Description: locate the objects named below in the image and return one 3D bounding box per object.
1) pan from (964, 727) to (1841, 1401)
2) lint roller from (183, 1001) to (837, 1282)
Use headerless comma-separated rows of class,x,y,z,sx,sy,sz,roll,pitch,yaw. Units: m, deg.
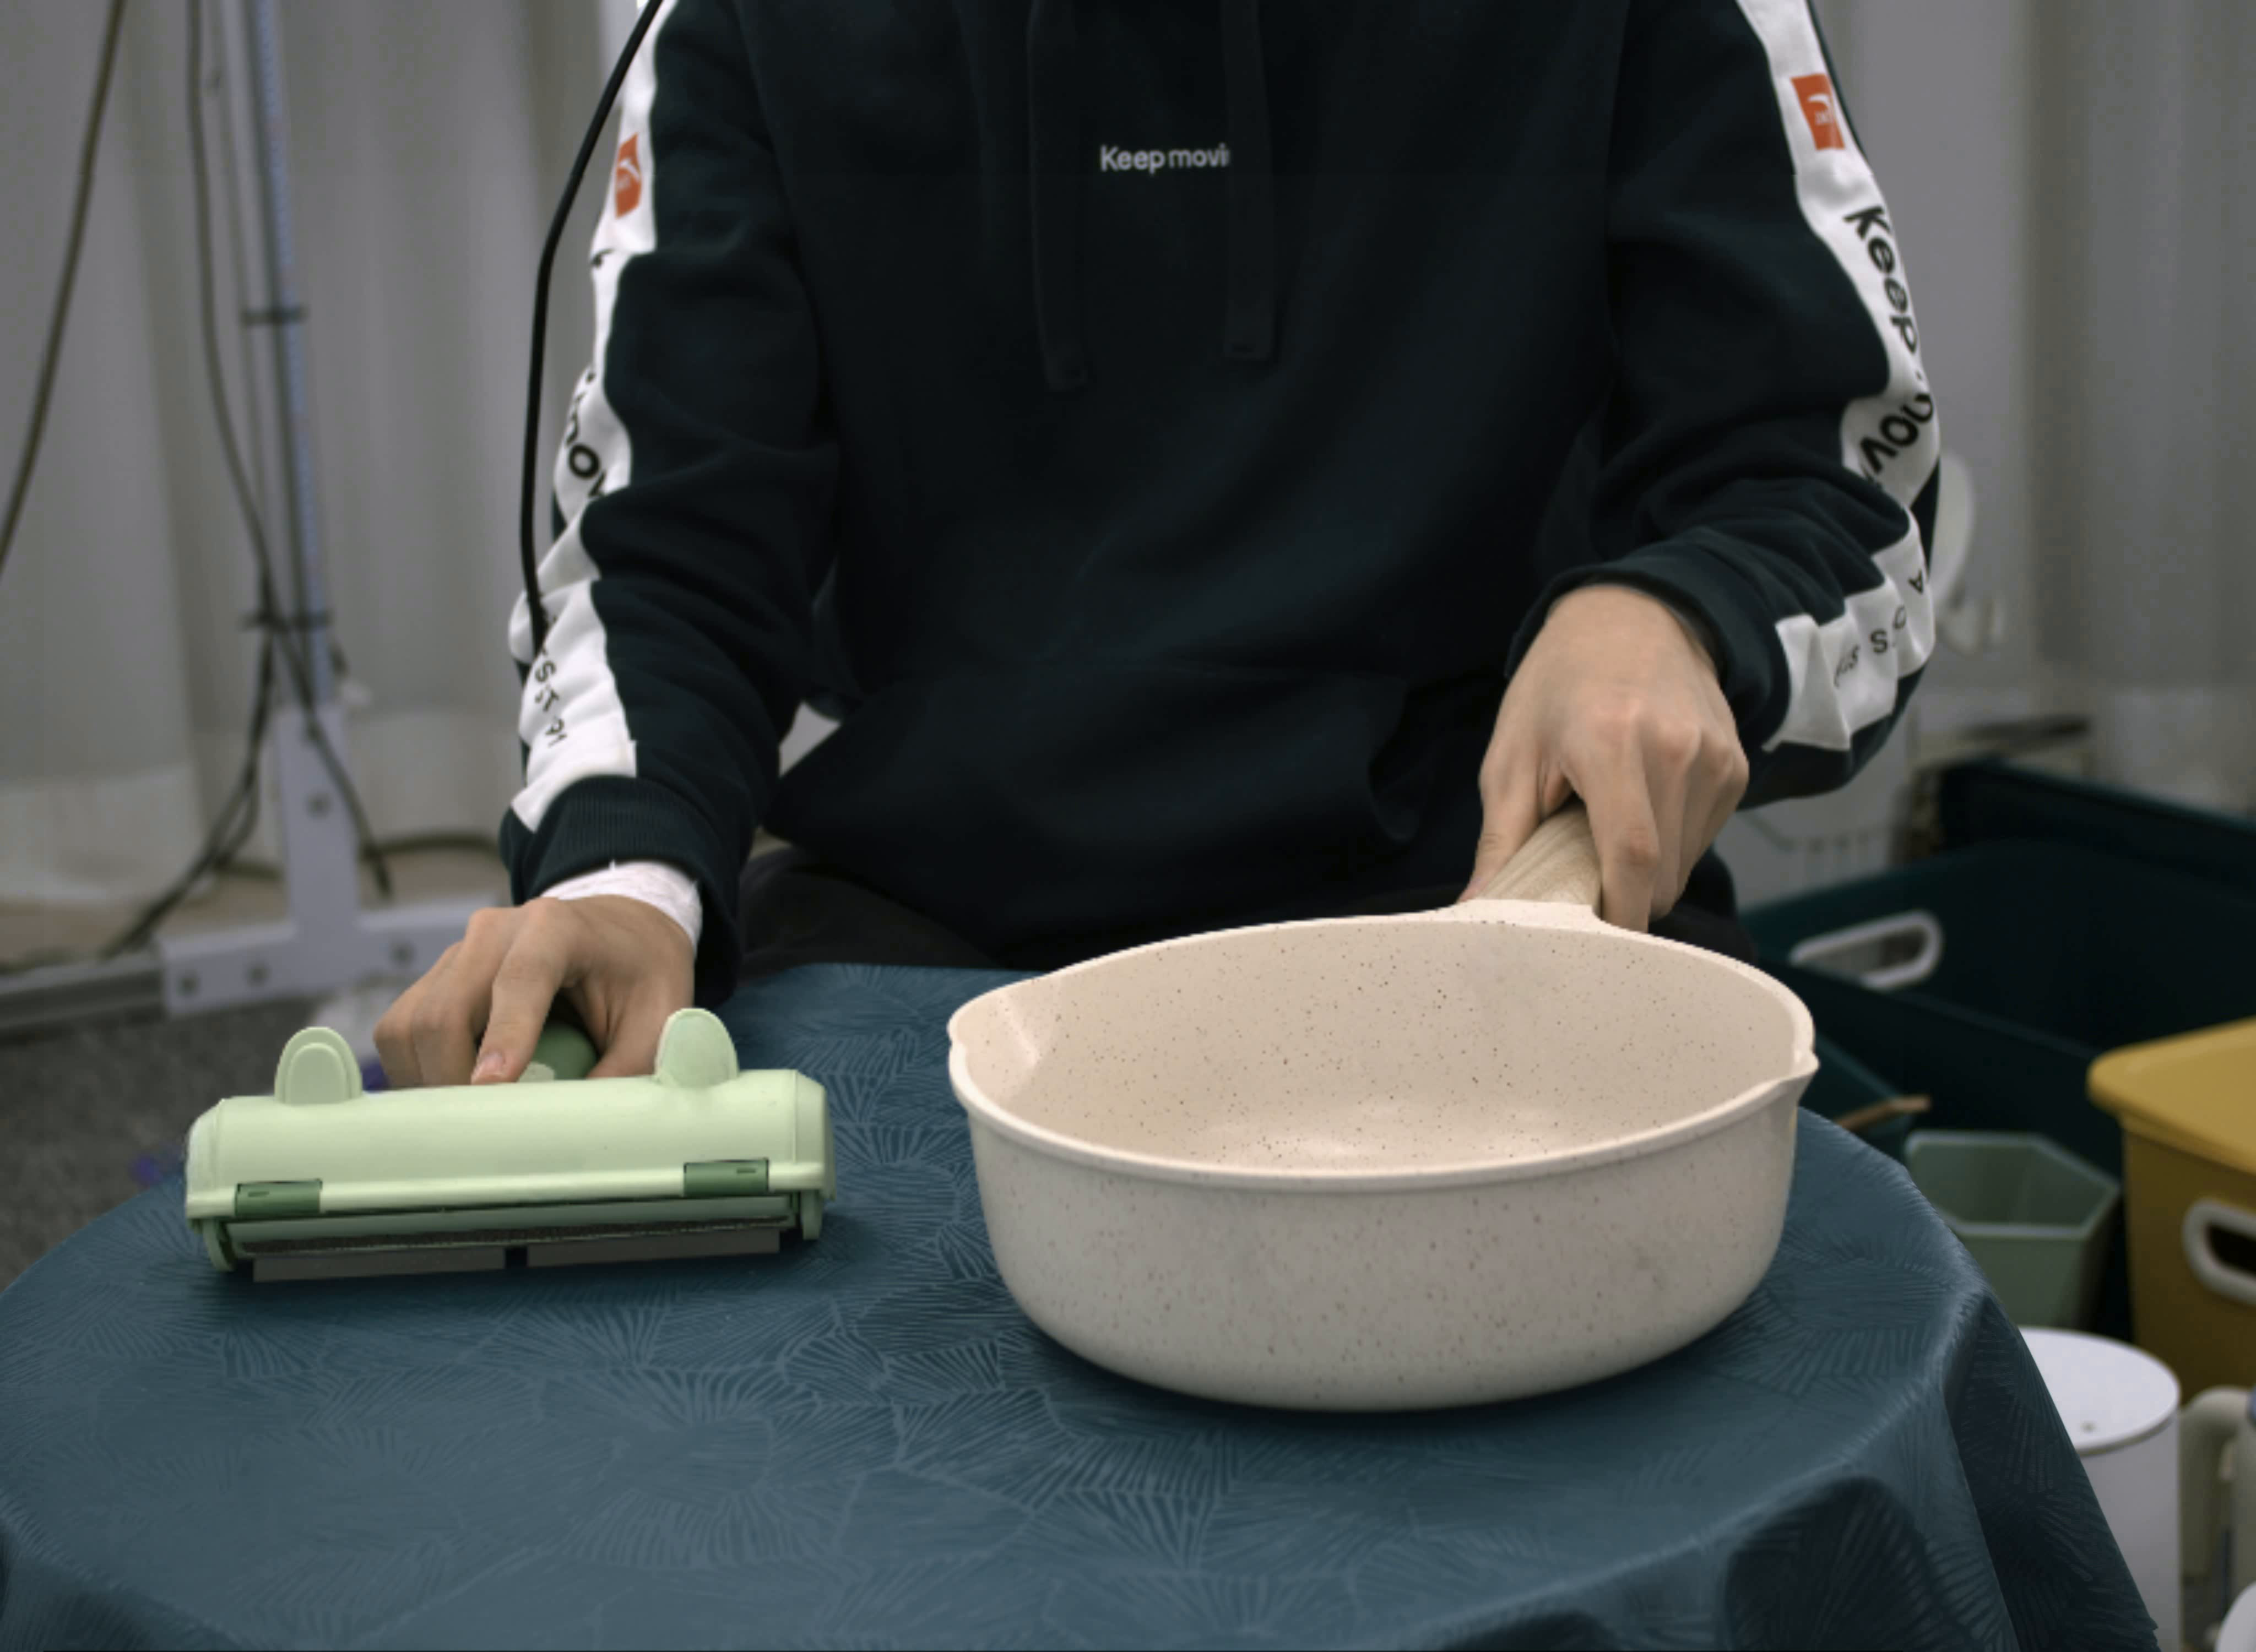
pan,0.113,0.069,1.674,0.263,0.101,0.436,1,15,22
lint roller,-0.191,0.077,1.729,0.198,0.081,0.185,-3,25,0
